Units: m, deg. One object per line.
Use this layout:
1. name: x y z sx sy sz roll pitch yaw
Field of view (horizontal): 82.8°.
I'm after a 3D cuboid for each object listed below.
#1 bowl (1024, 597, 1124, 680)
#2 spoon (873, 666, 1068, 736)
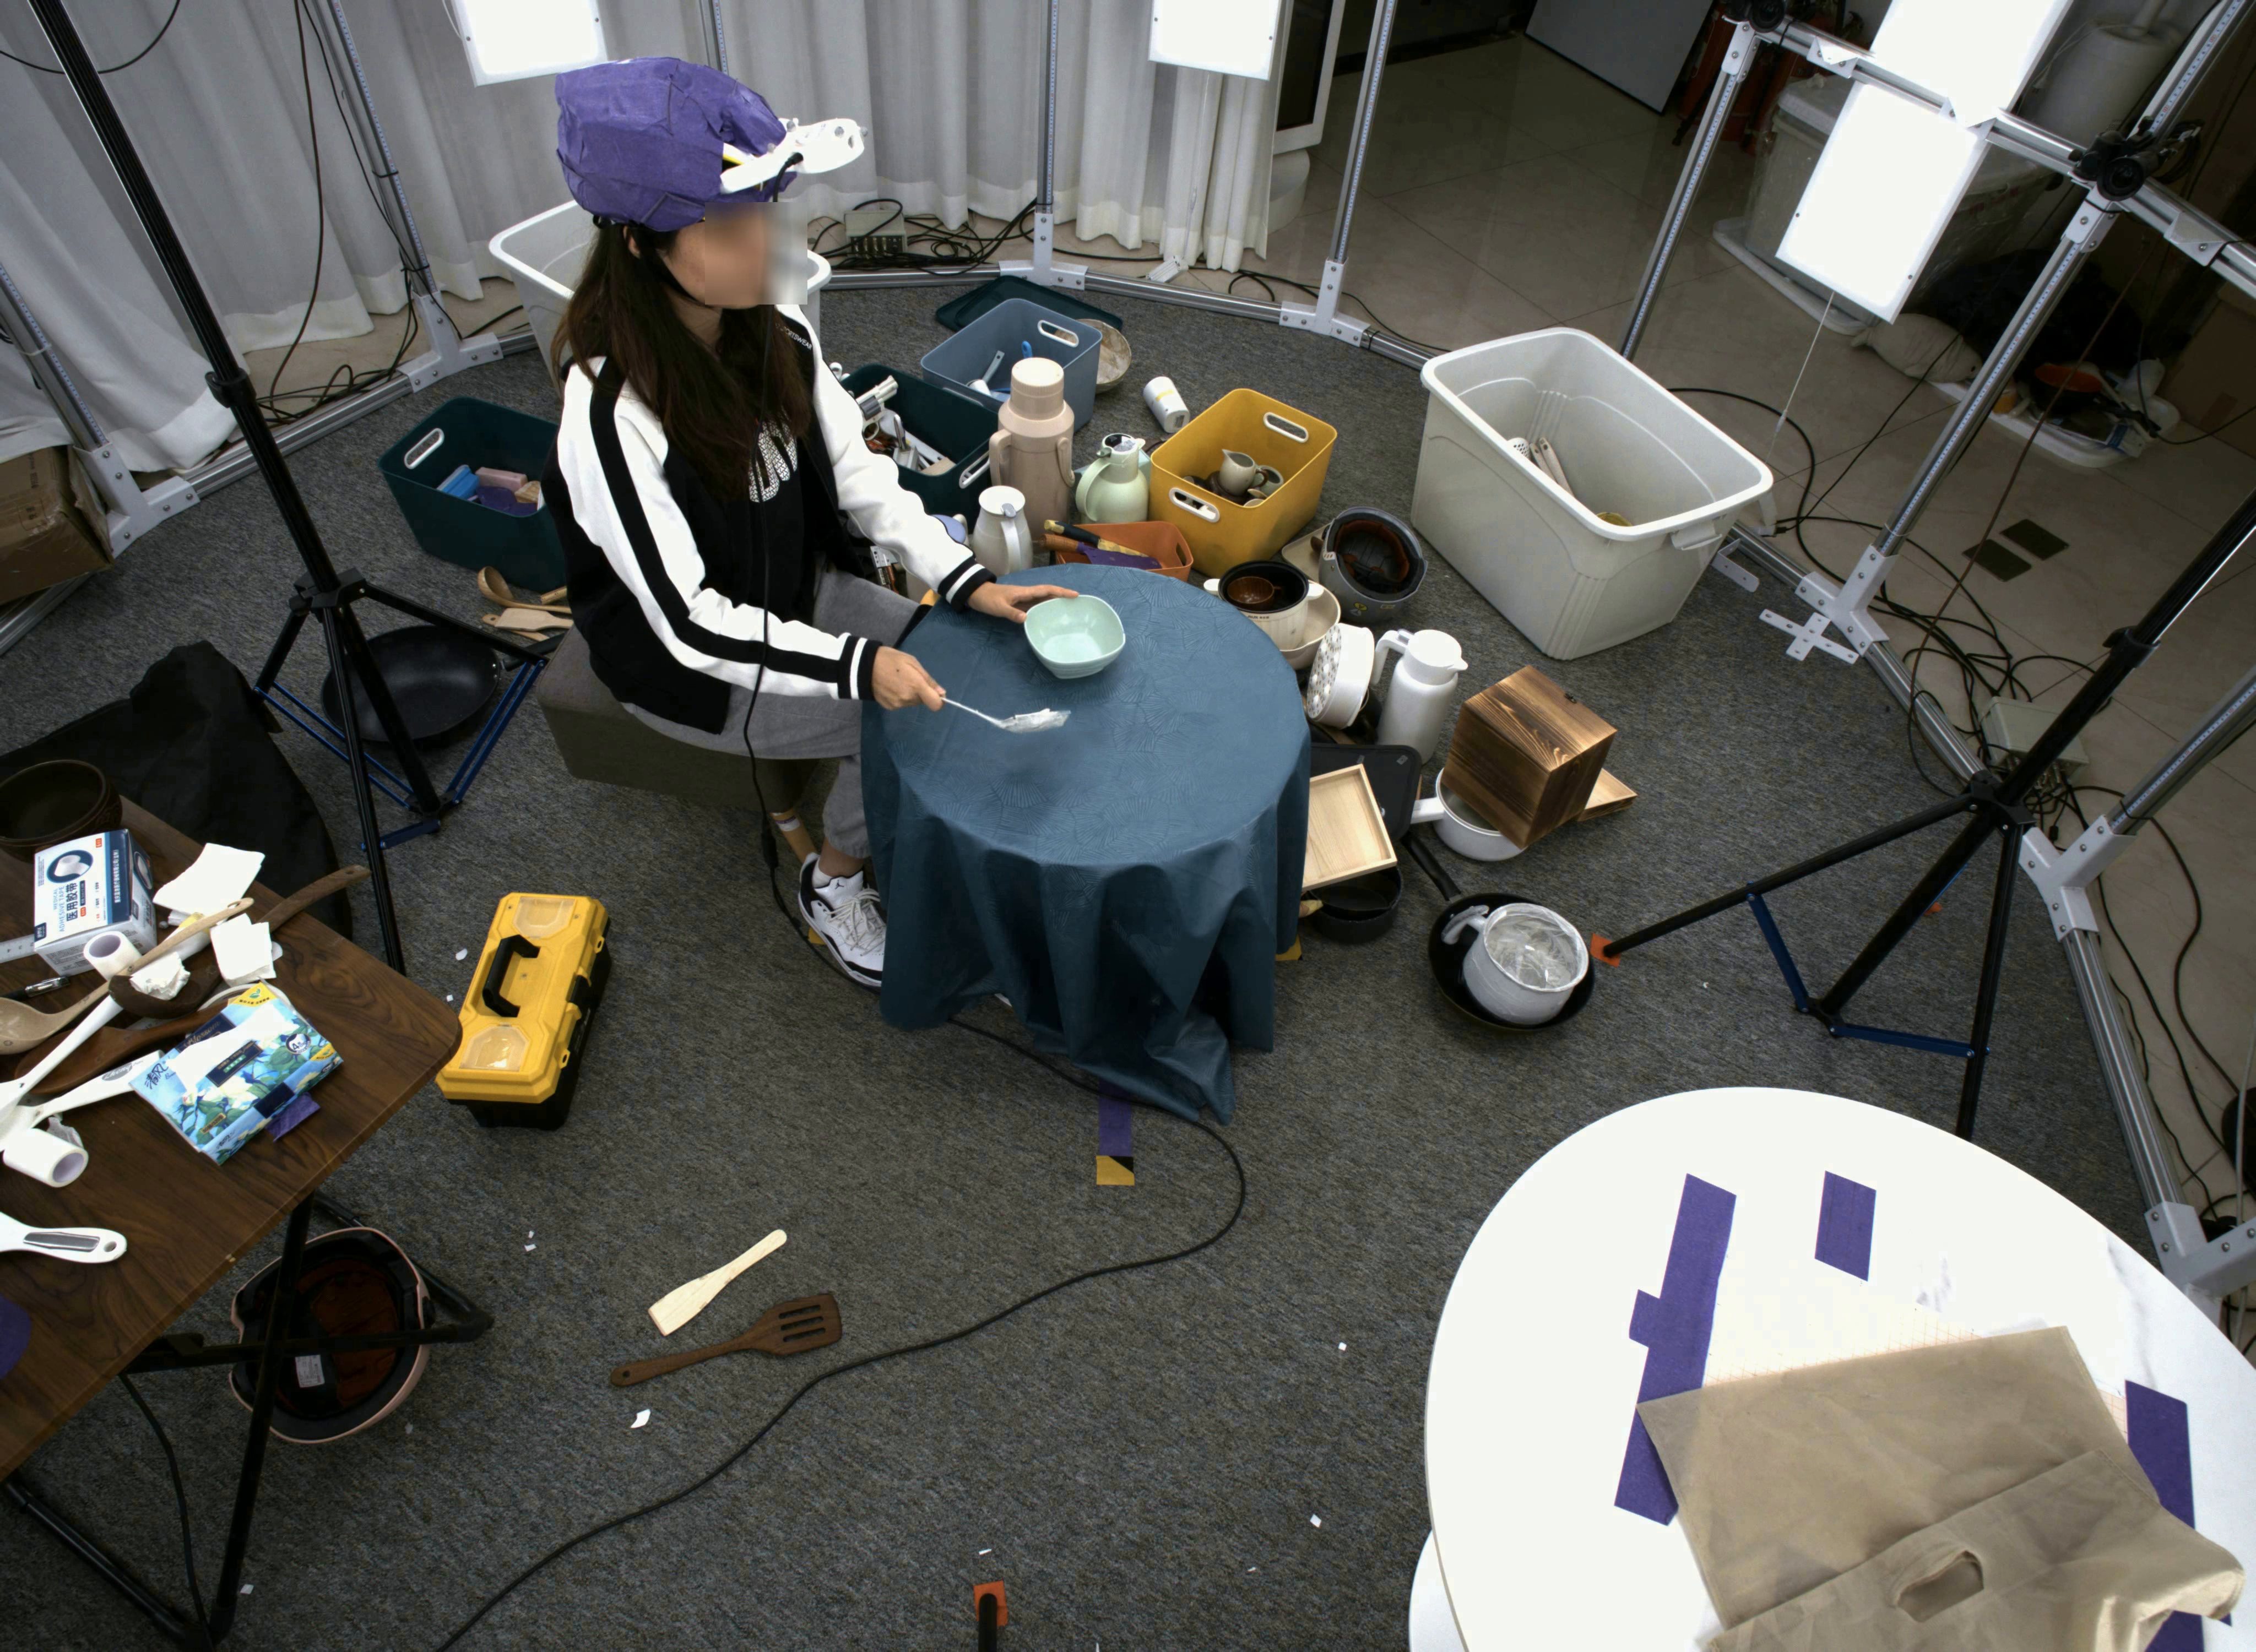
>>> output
1. bowl: -0.079 -0.263 1.859 0.151 0.057 0.155 2 49 -2
2. spoon: -0.209 -0.179 1.702 0.279 0.100 0.059 25 89 17
